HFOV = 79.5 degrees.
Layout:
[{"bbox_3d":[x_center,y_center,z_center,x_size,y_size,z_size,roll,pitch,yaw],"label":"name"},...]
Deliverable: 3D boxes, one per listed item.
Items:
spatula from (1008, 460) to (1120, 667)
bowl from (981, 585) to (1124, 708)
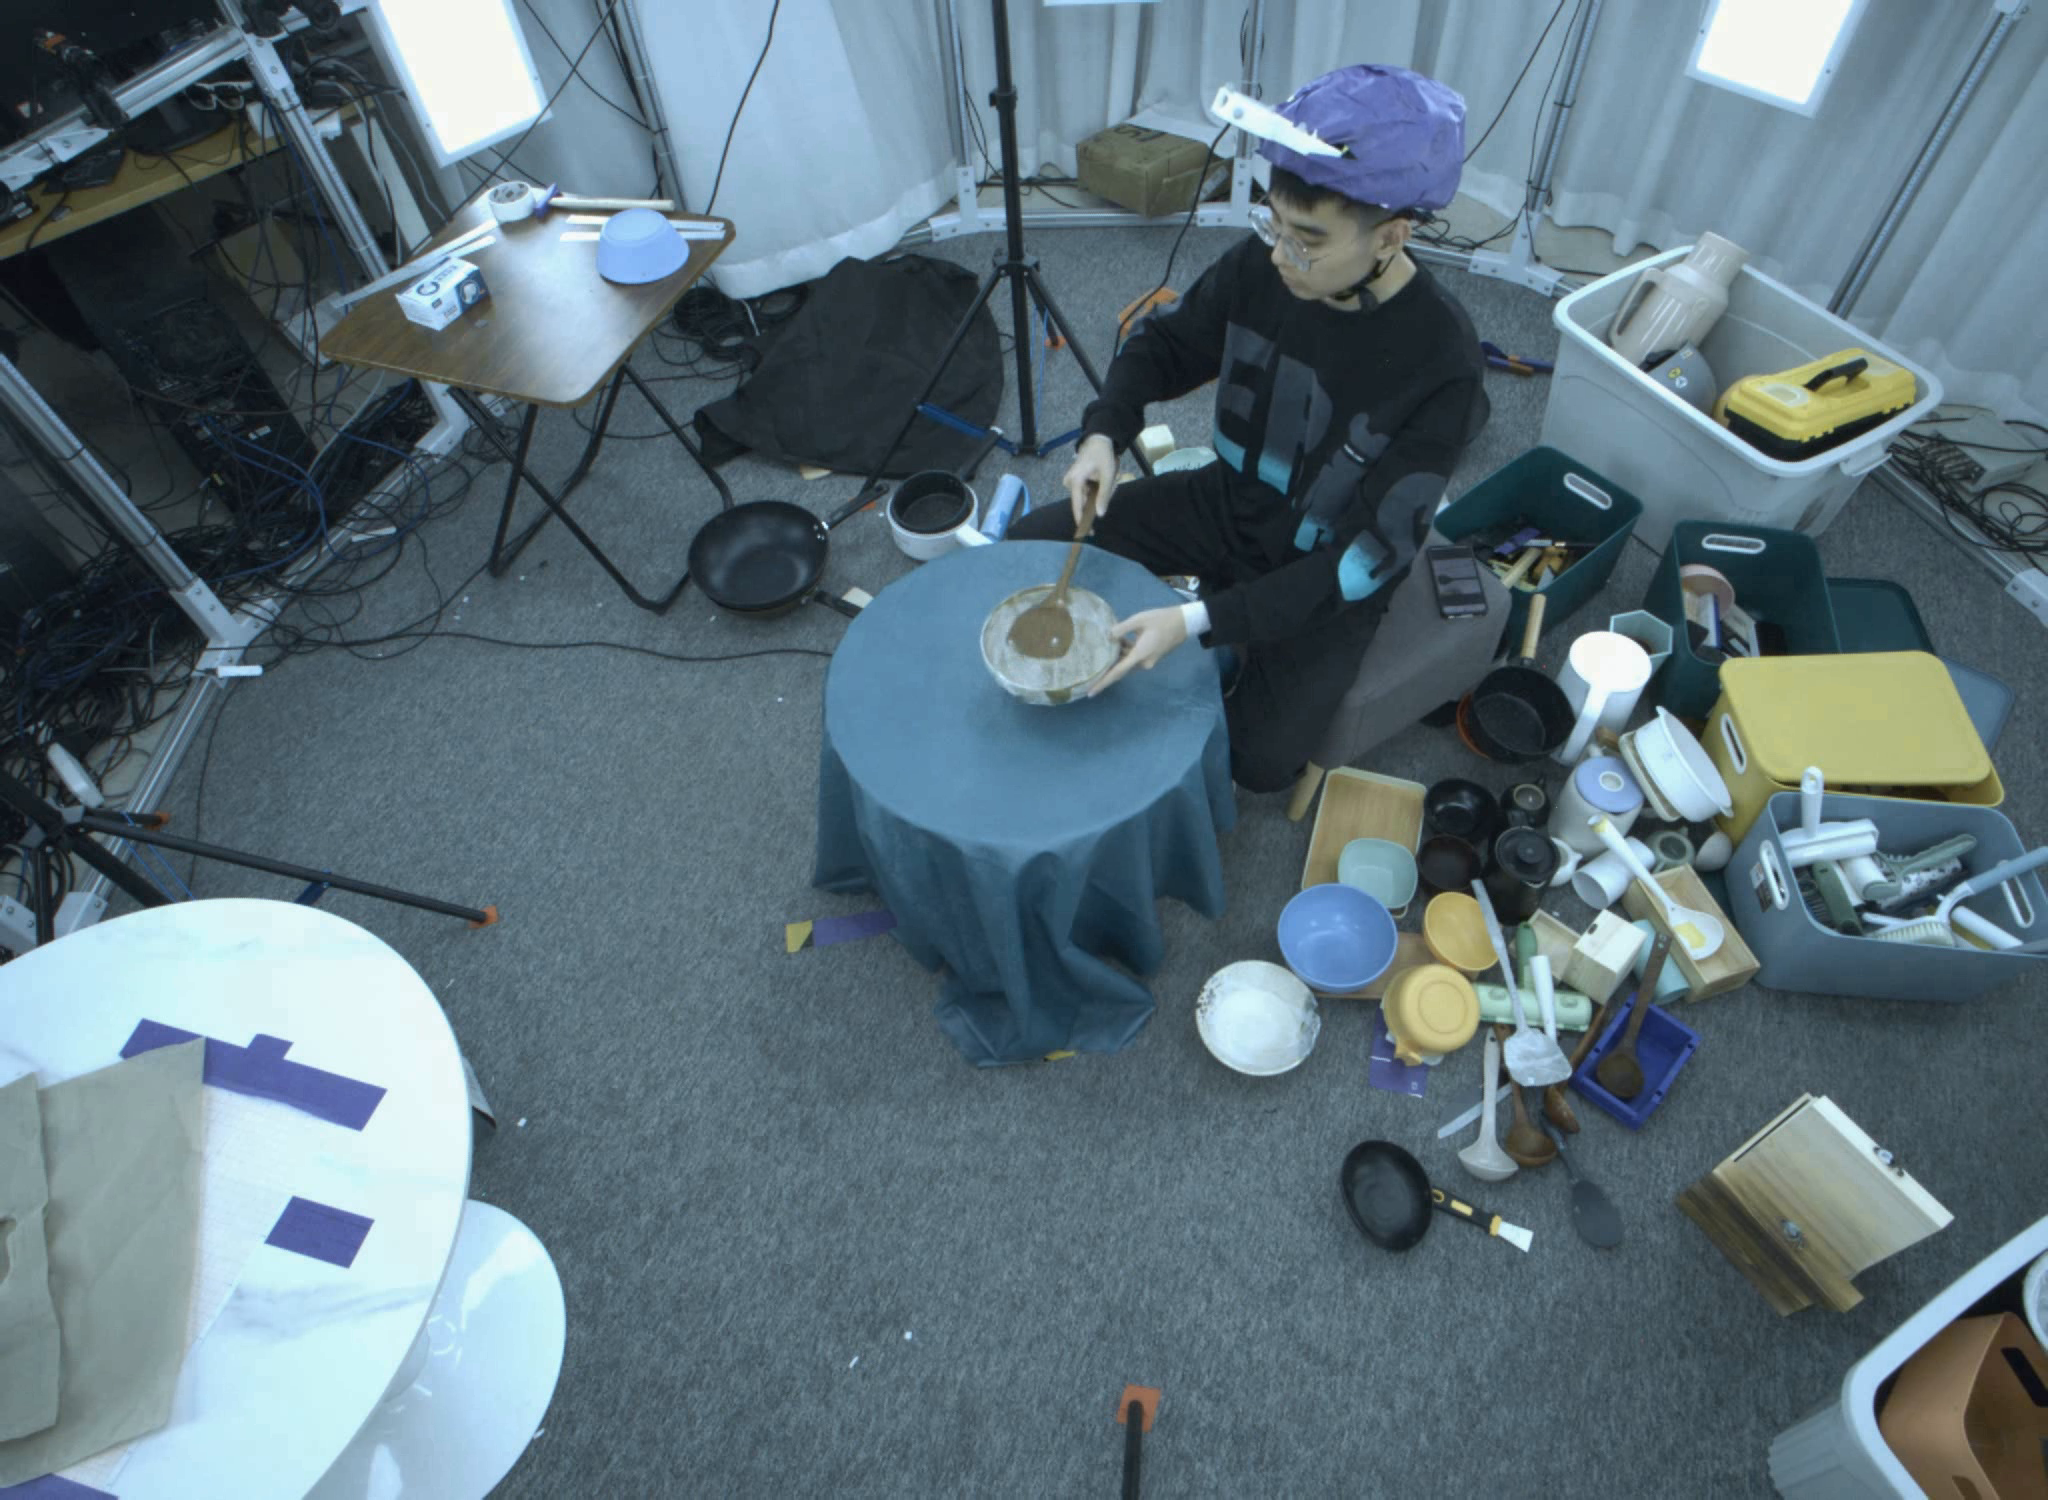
[{"bbox_3d":[0.077,-0.288,1.824,0.095,0.016,0.385,15,67,13],"label":"spatula"},{"bbox_3d":[0.046,-0.136,1.808,0.214,0.095,0.212,-1,54,3],"label":"bowl"}]
